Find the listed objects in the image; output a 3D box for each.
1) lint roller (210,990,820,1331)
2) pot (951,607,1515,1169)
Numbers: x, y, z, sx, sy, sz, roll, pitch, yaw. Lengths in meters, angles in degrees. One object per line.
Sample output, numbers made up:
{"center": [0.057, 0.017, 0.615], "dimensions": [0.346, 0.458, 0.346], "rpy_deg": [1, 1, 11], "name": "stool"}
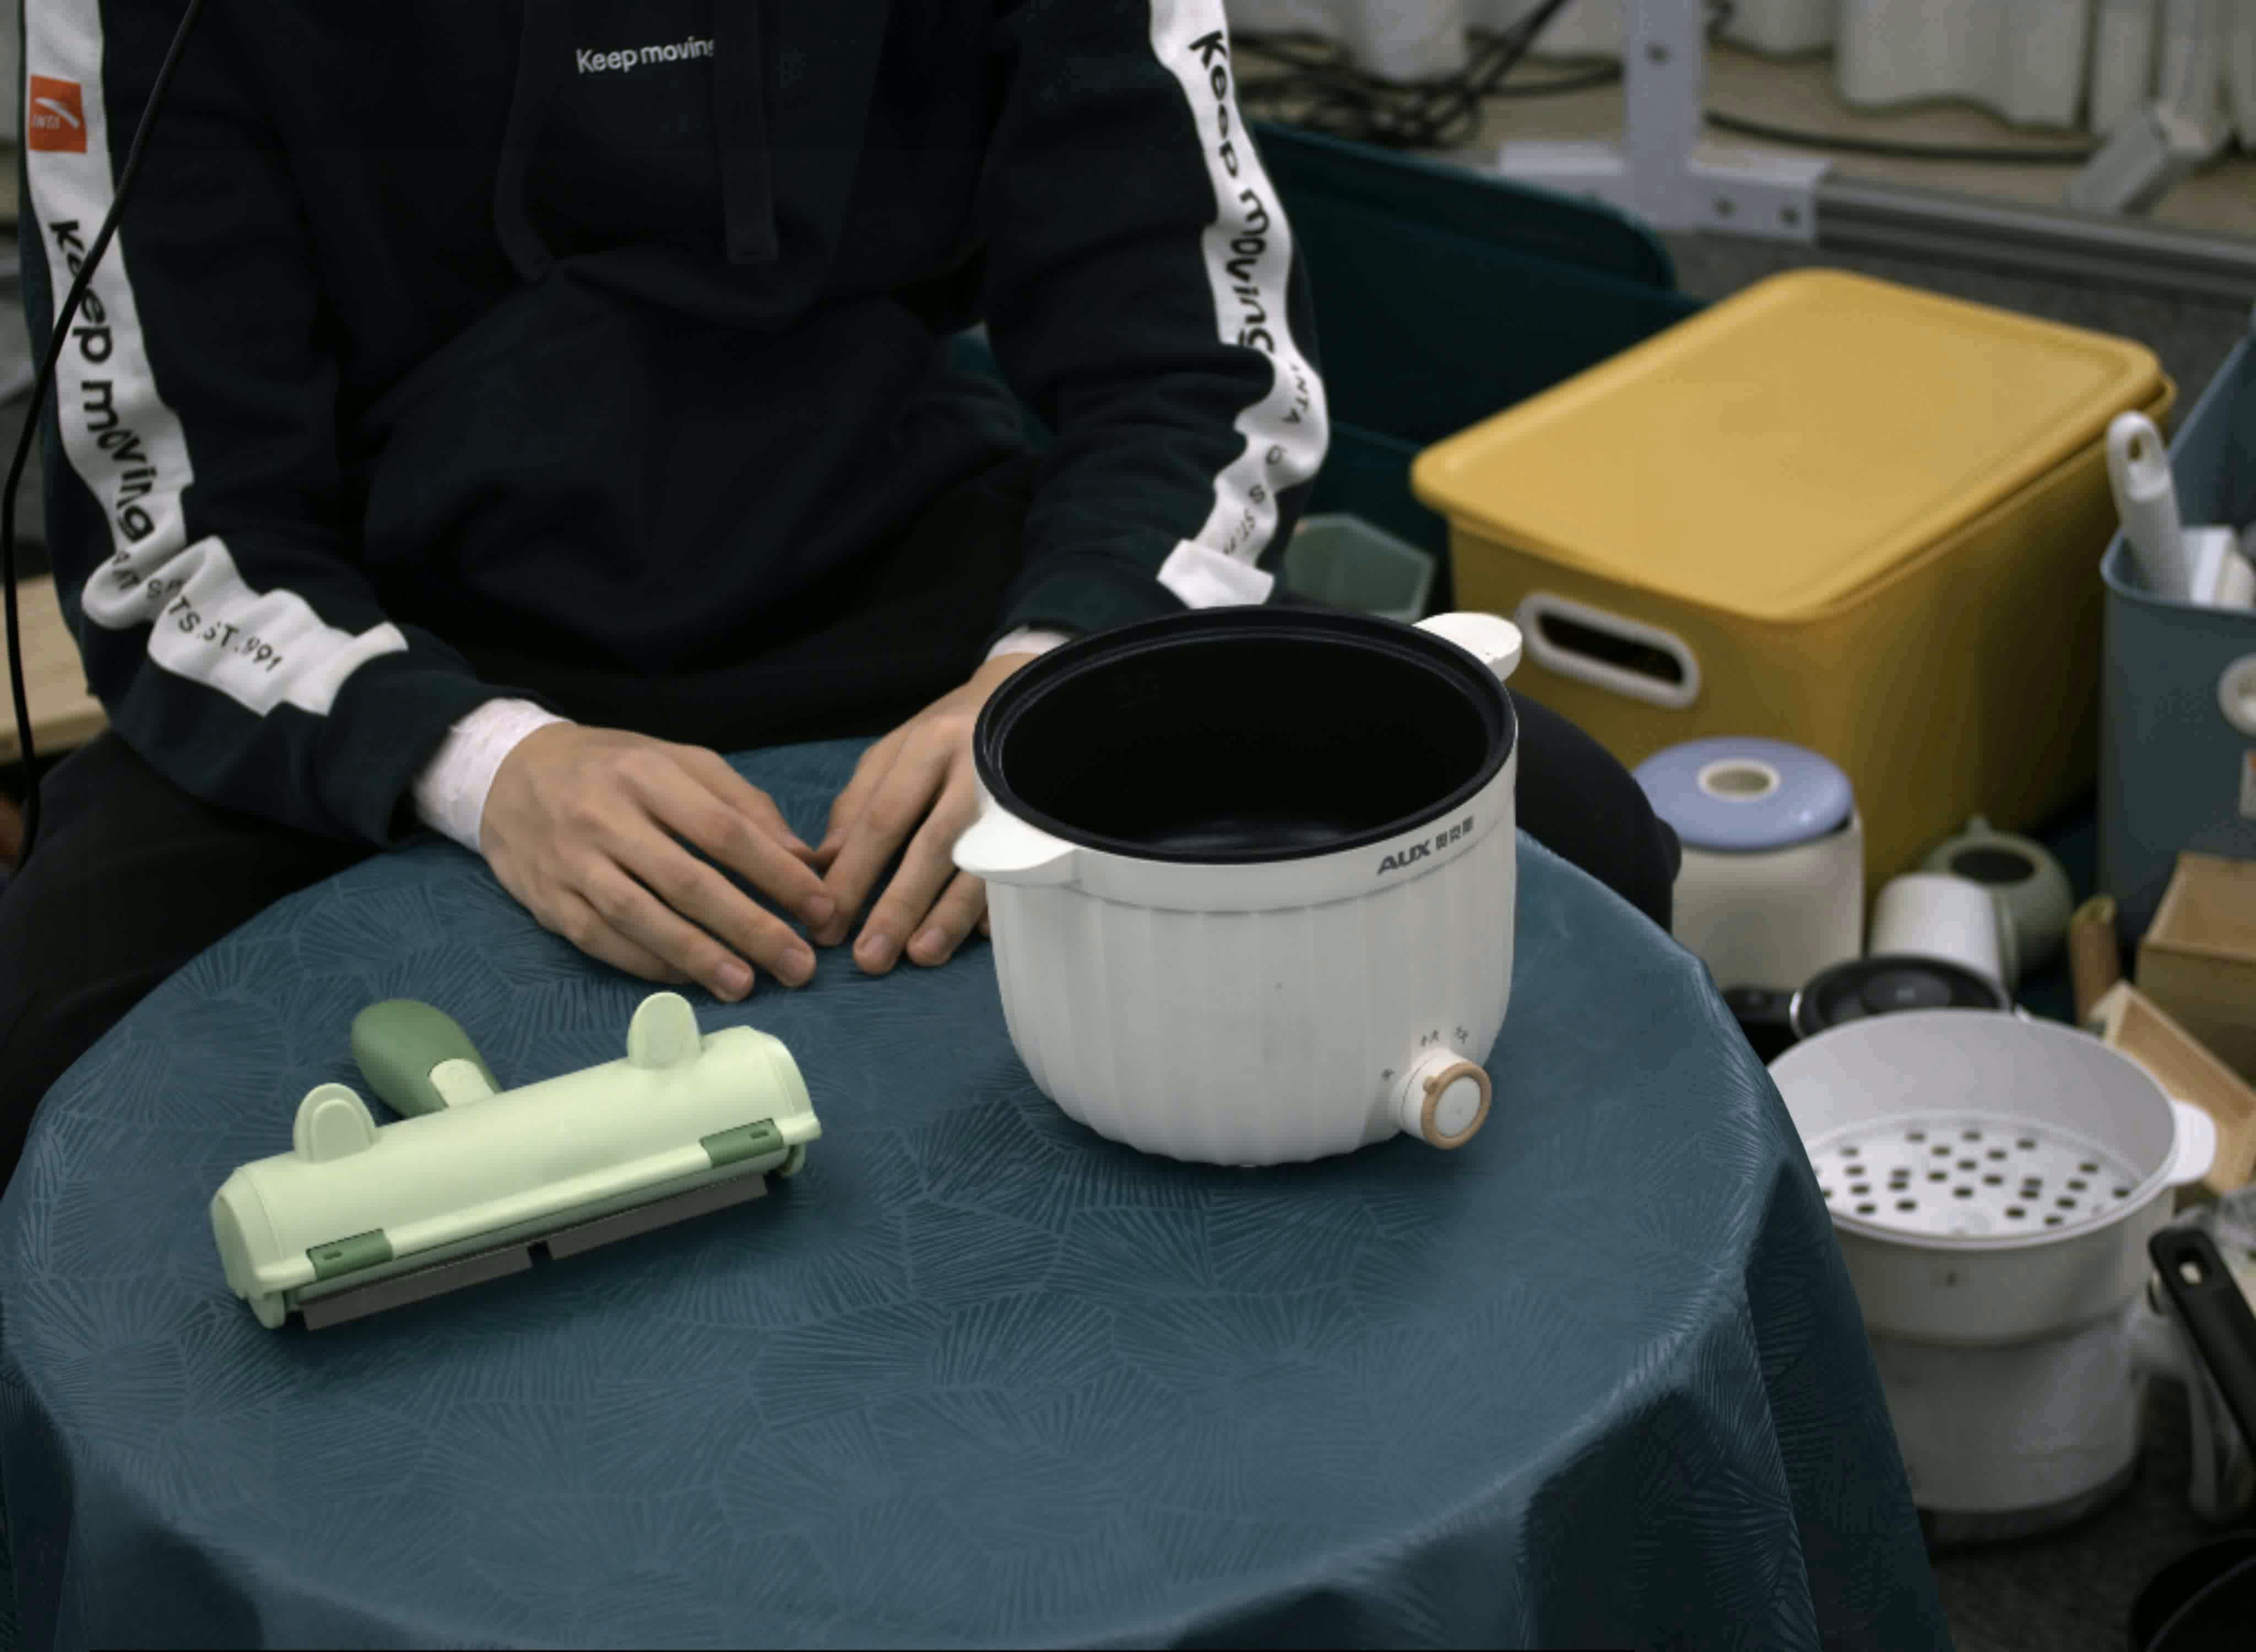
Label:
{"center": [-0.224, 0.082, 1.877], "dimensions": [0.199, 0.081, 0.185], "rpy_deg": [-15, 35, -22], "name": "lint roller"}
{"center": [0.046, 0.026, 1.892], "dimensions": [0.243, 0.141, 0.190], "rpy_deg": [-25, 31, -34], "name": "pot"}
